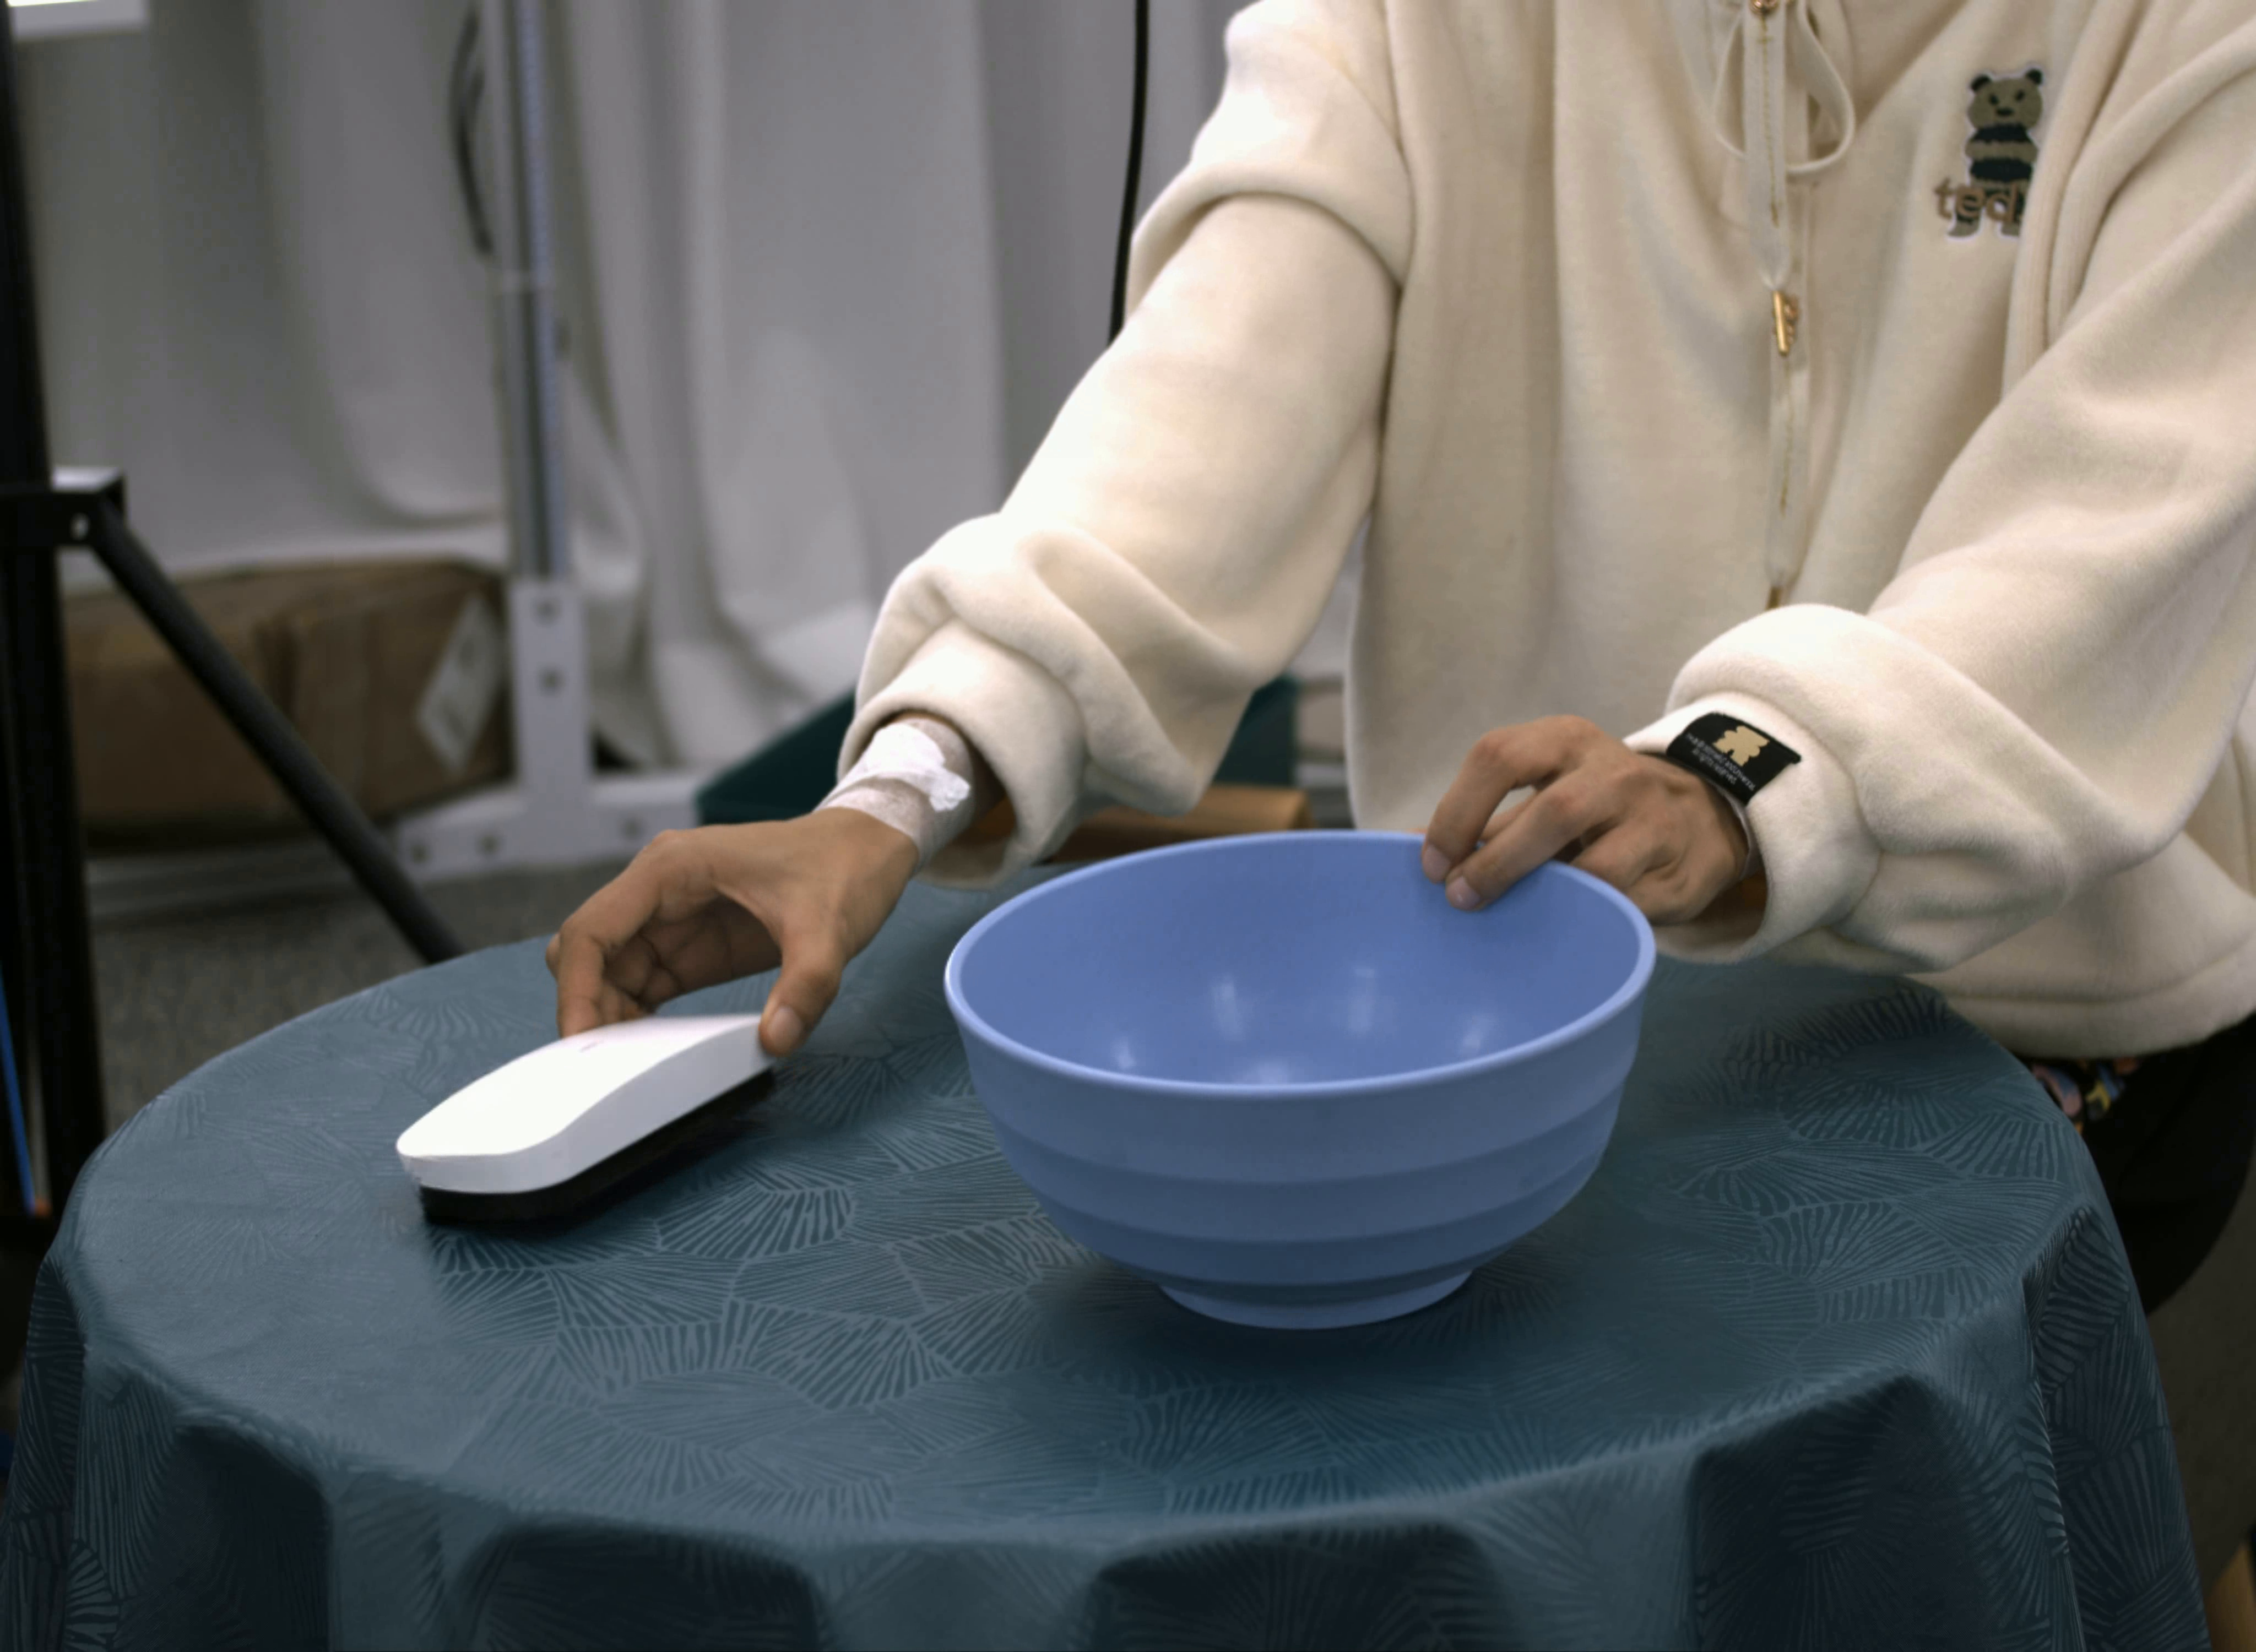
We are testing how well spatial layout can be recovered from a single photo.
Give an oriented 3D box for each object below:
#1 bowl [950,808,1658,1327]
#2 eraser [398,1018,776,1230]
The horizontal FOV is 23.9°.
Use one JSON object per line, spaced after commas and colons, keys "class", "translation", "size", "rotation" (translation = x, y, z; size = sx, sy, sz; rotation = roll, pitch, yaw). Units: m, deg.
{"class": "bowl", "translation": [0.054, 0.076, 1.475], "size": [0.196, 0.095, 0.198], "rotation": [-9, 21, 2]}
{"class": "eraser", "translation": [-0.158, 0.085, 1.595], "size": [0.064, 0.034, 0.129], "rotation": [-1, 16, 33]}
